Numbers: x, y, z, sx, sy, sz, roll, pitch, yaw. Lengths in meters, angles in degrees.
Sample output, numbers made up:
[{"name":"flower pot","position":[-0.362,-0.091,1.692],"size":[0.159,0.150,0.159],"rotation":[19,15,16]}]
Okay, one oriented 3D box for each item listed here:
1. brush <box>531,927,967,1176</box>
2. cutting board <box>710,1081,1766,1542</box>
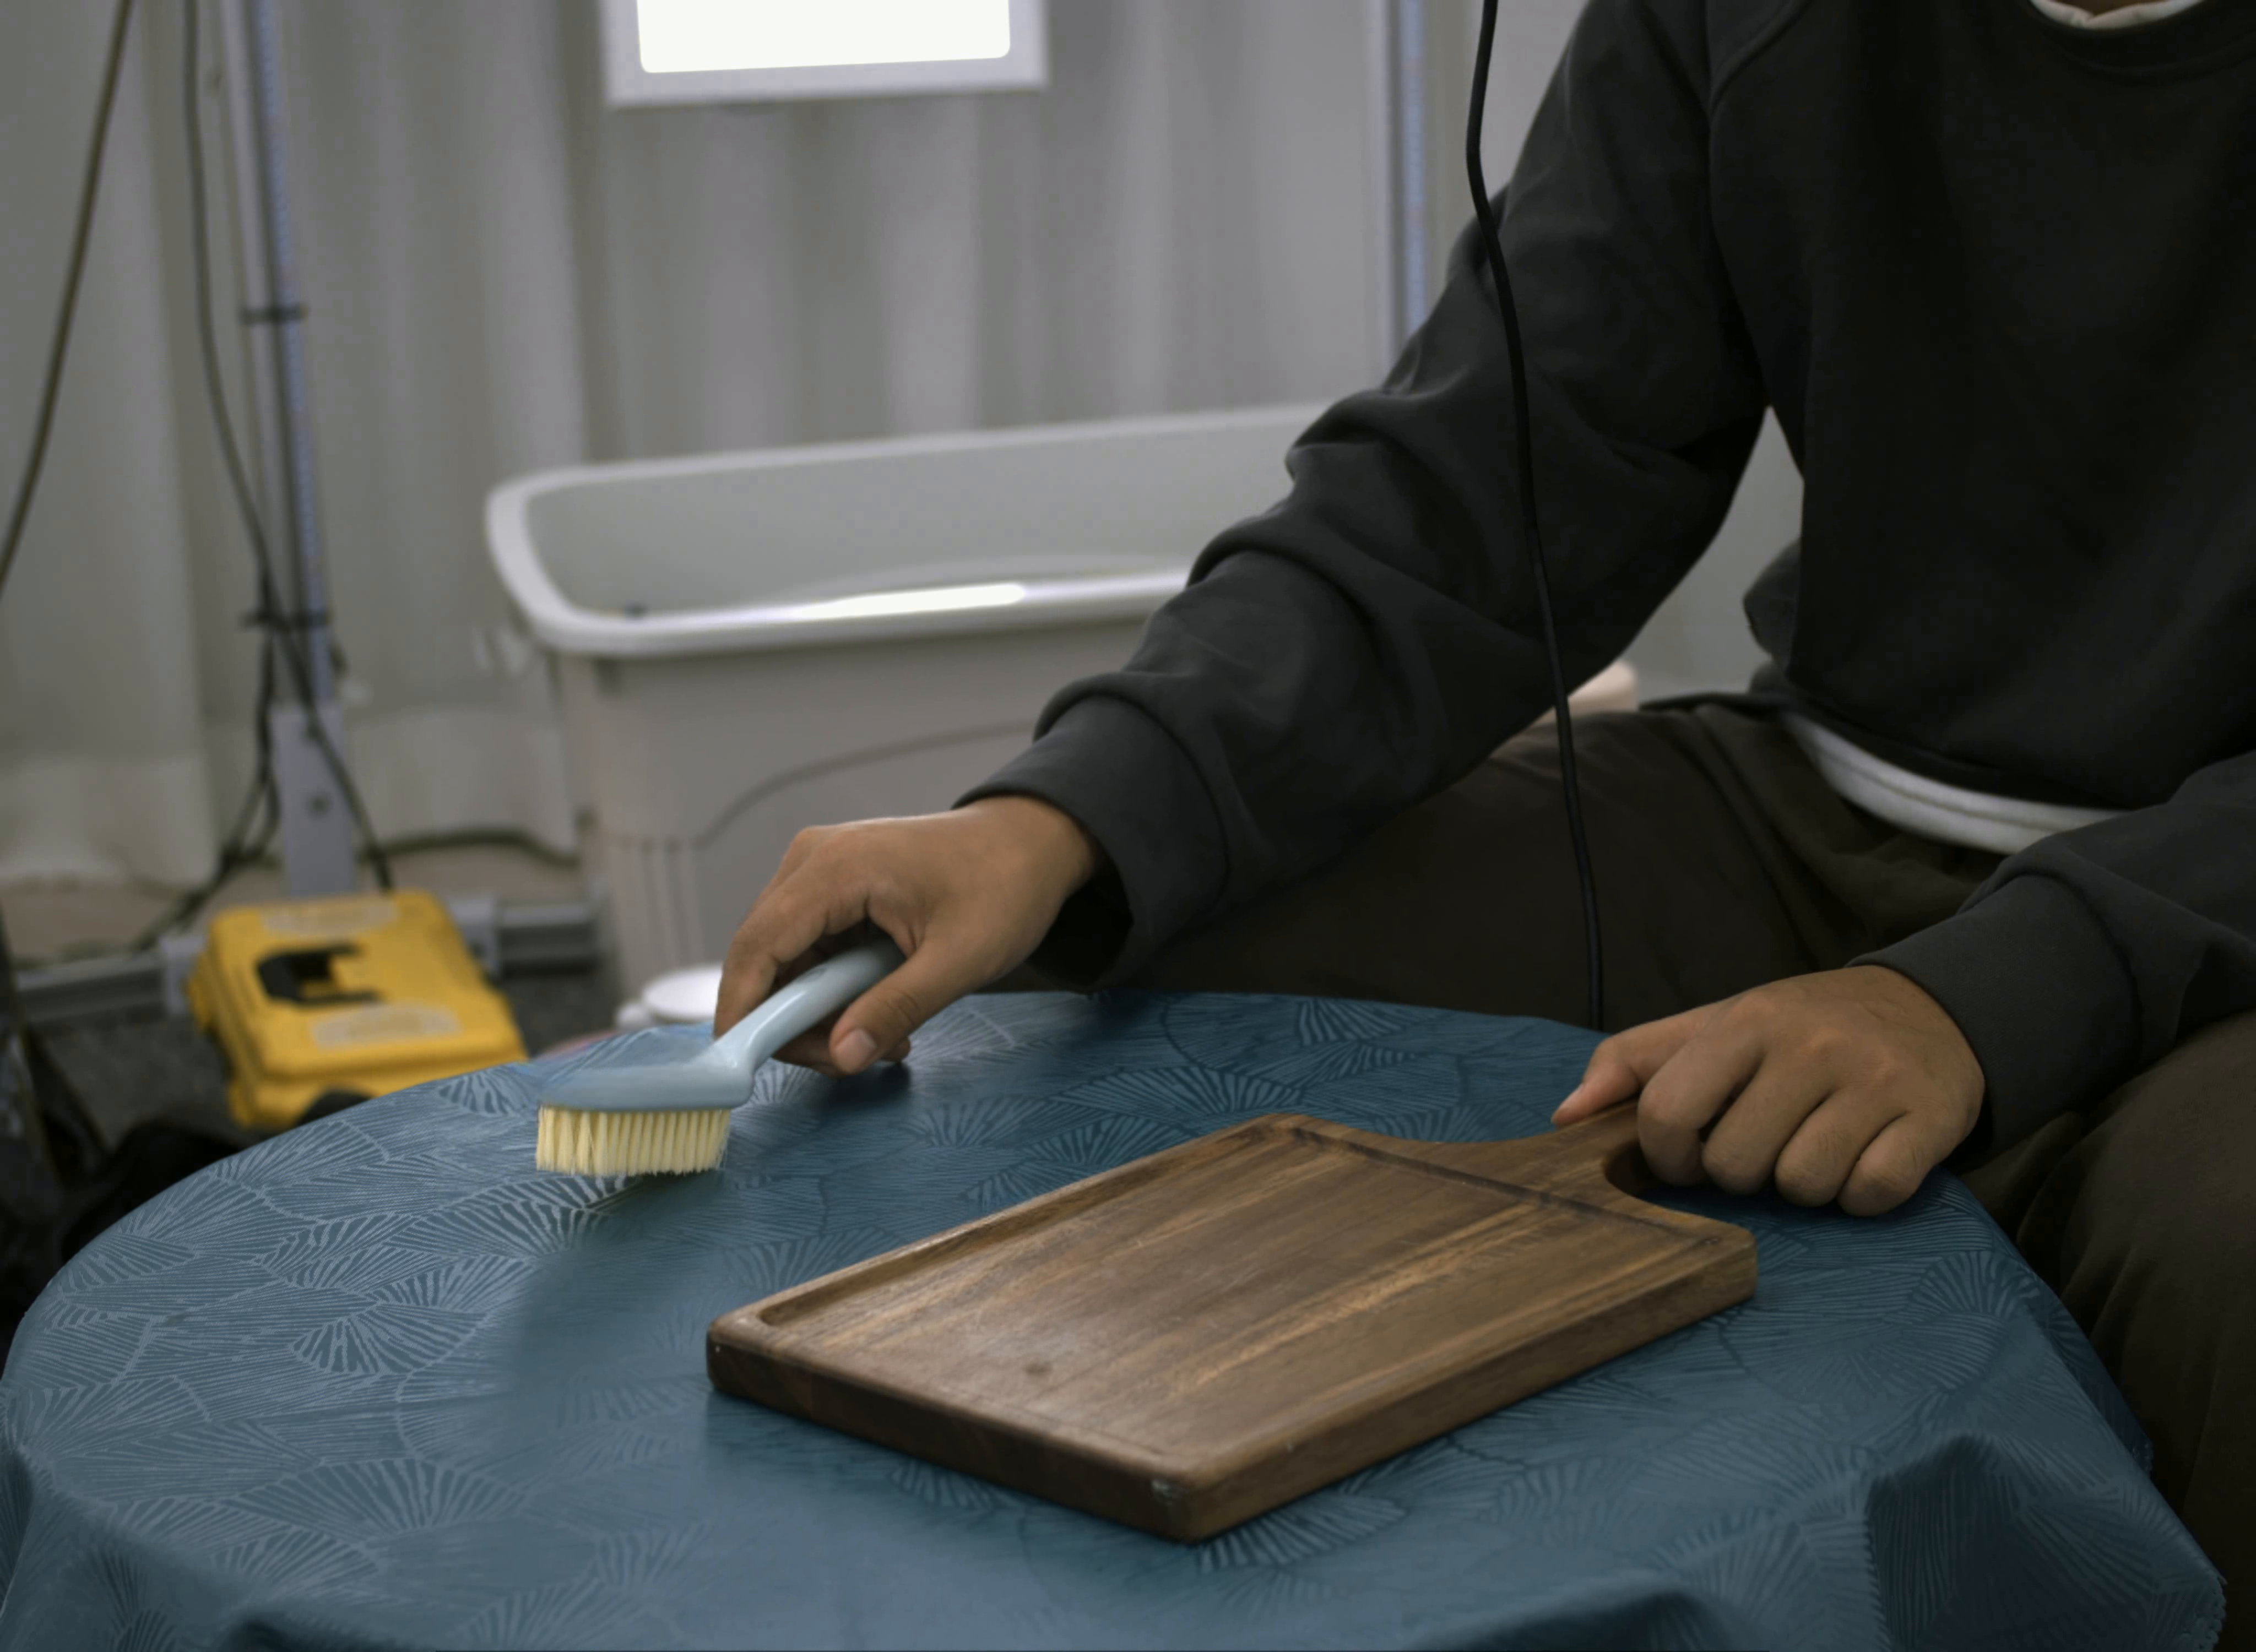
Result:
[{"name":"brush","position":[-0.120,0.076,1.798],"size":[0.038,0.049,0.229],"rotation":[6,16,29]},{"name":"cutting board","position":[0.068,0.129,1.613],"size":[0.202,0.023,0.351],"rotation":[12,21,43]}]
